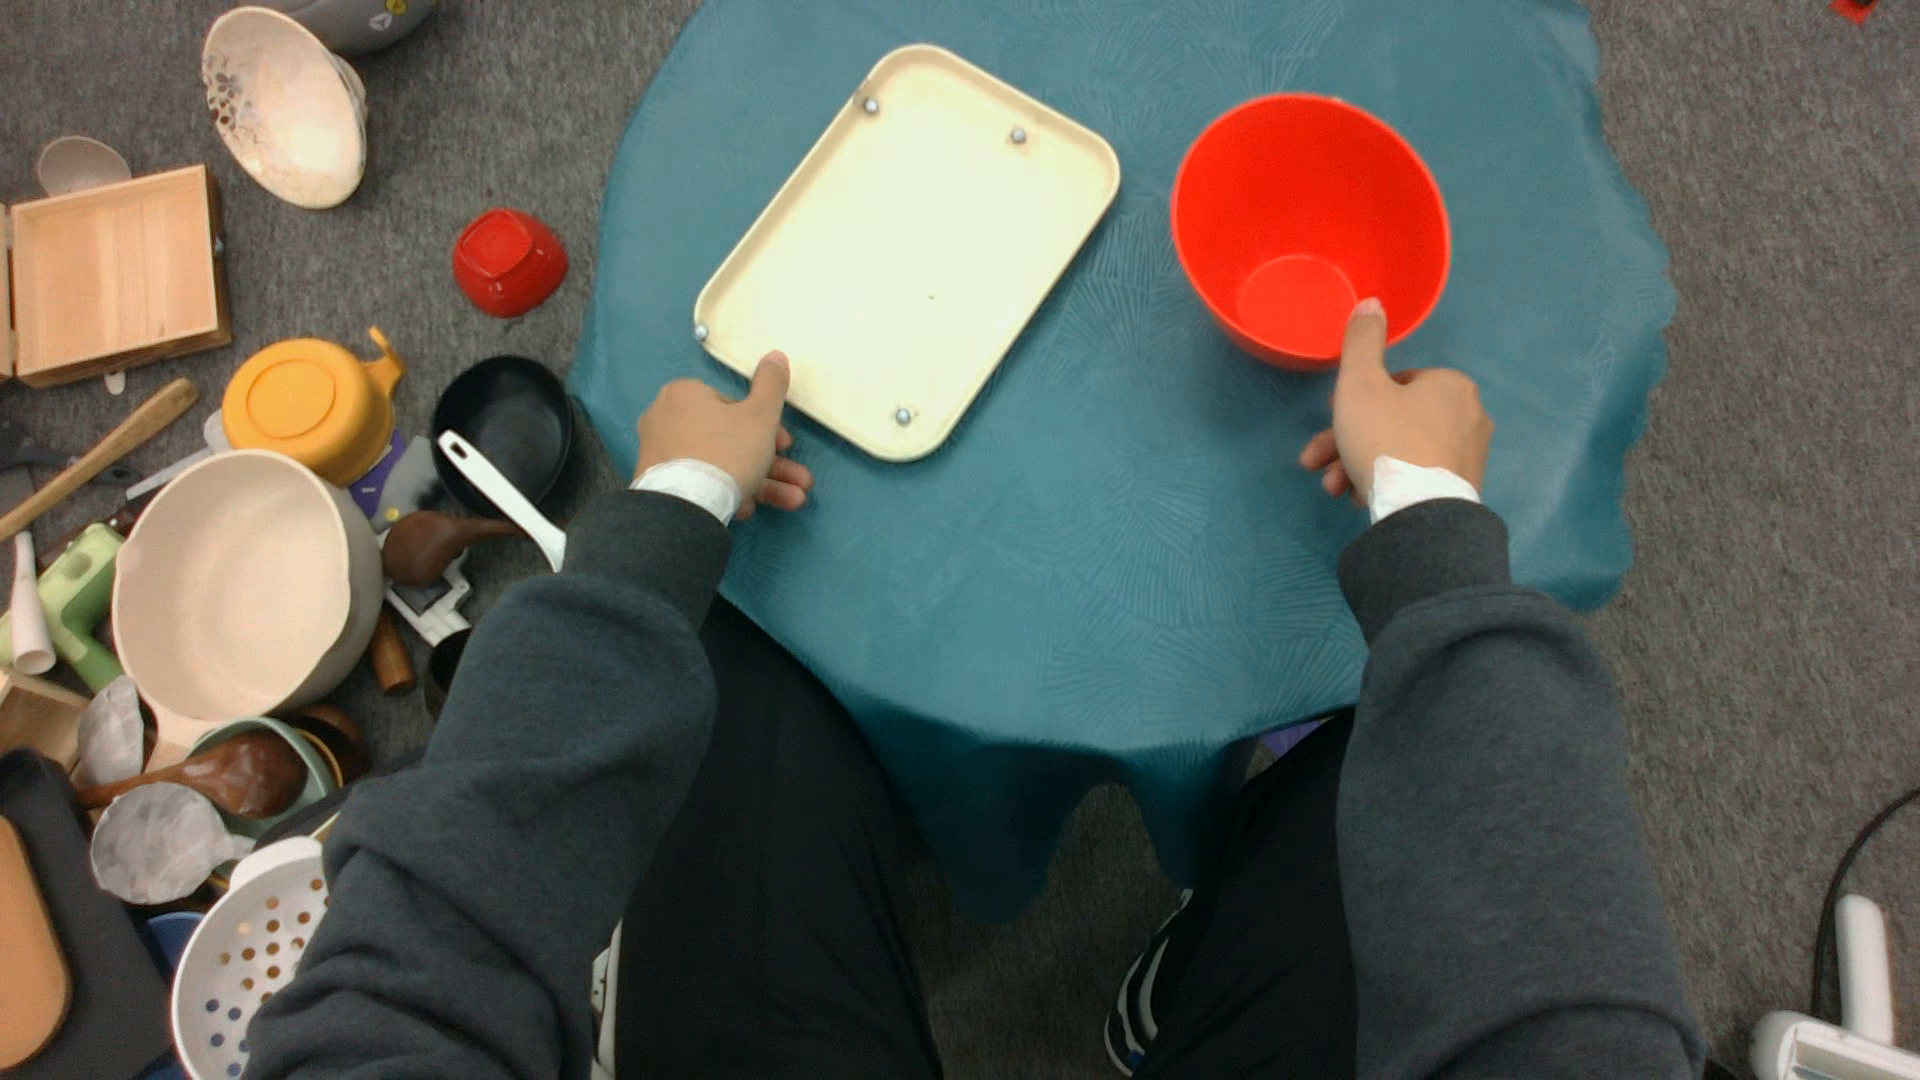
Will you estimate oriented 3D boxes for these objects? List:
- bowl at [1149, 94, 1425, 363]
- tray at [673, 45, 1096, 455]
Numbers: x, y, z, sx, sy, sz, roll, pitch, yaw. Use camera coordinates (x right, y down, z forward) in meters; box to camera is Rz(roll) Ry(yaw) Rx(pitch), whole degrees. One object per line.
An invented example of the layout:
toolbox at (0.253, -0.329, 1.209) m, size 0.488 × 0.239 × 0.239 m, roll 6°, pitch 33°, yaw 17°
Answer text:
bowl at (0.173, -0.155, 0.756) m, size 0.148 × 0.104 × 0.148 m, roll 0°, pitch 70°, yaw 1°
tray at (-0.042, -0.174, 0.809) m, size 0.171 × 0.017 × 0.240 m, roll 31°, pitch 75°, yaw 10°
